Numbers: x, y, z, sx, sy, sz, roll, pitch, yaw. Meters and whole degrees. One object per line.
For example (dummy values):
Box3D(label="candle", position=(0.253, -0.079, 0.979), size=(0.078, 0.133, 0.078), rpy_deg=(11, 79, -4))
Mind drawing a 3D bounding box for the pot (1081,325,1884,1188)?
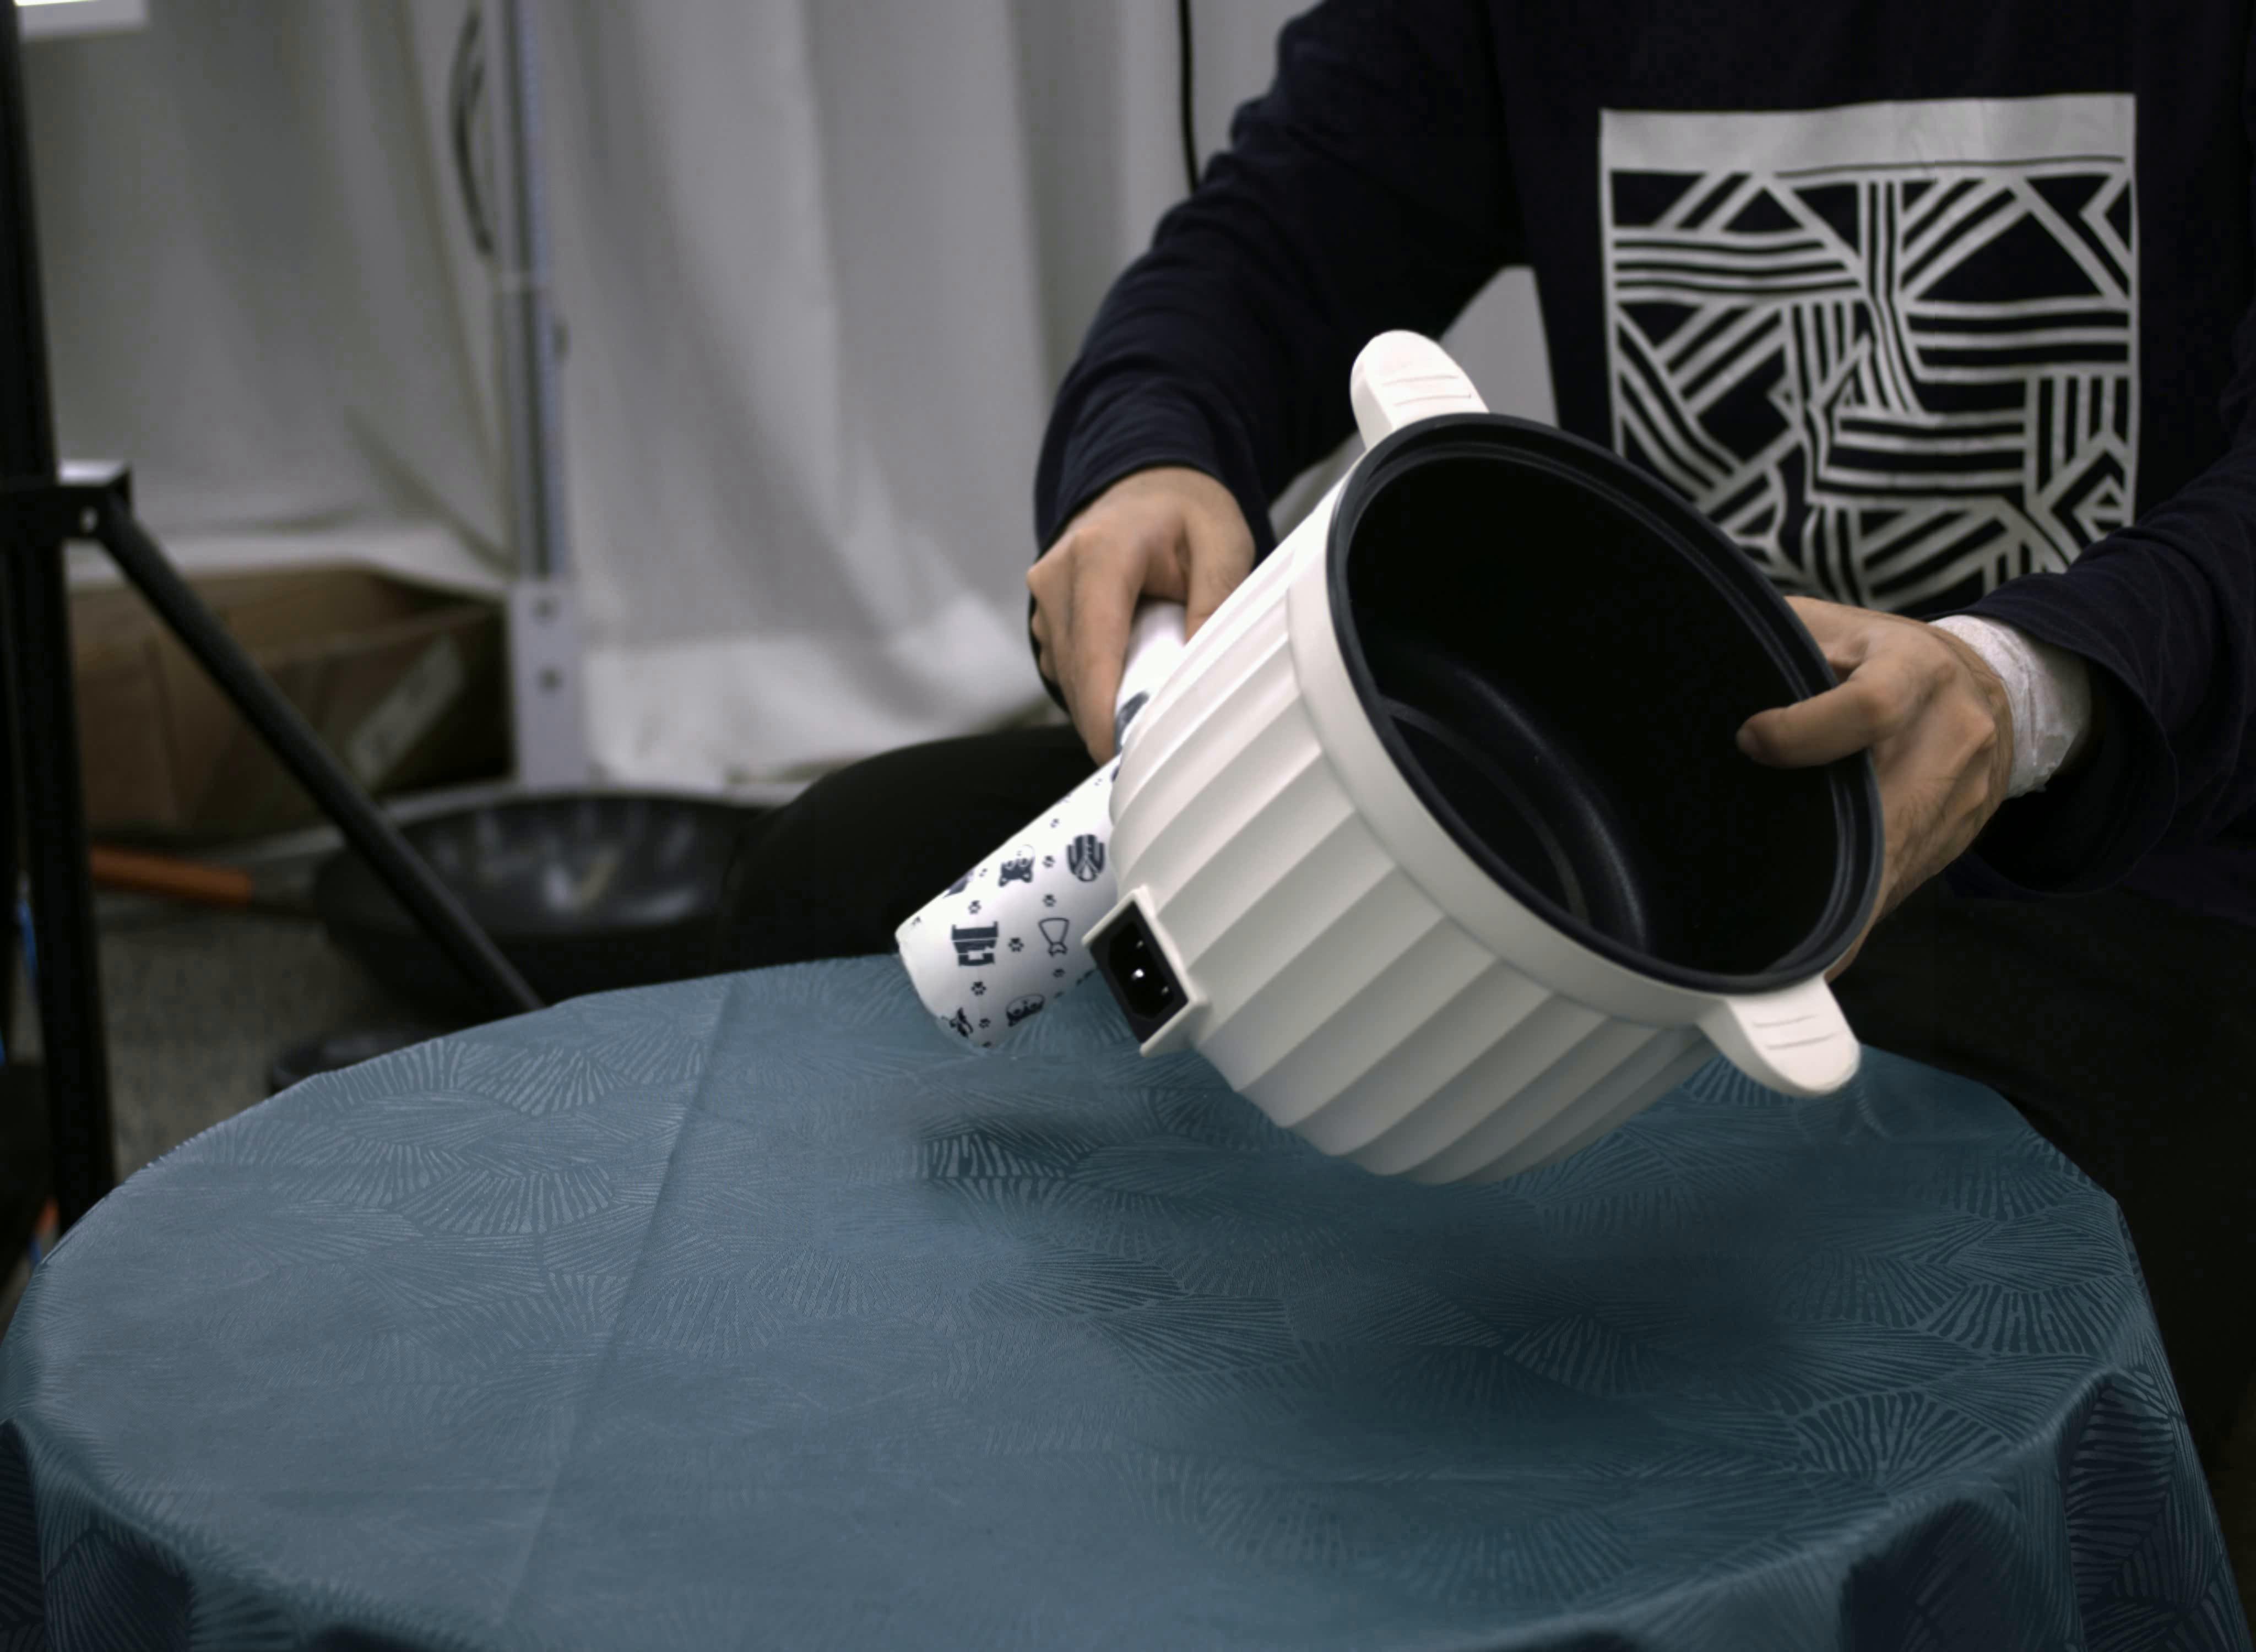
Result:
Box3D(label="pot", position=(0.093, -0.001, 1.424), size=(0.186, 0.243, 0.144), rpy_deg=(-12, -24, -42))

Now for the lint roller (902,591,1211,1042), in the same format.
Box3D(label="lint roller", position=(0.007, -0.033, 1.683), size=(0.177, 0.050, 0.248), rpy_deg=(-38, 16, 13))
